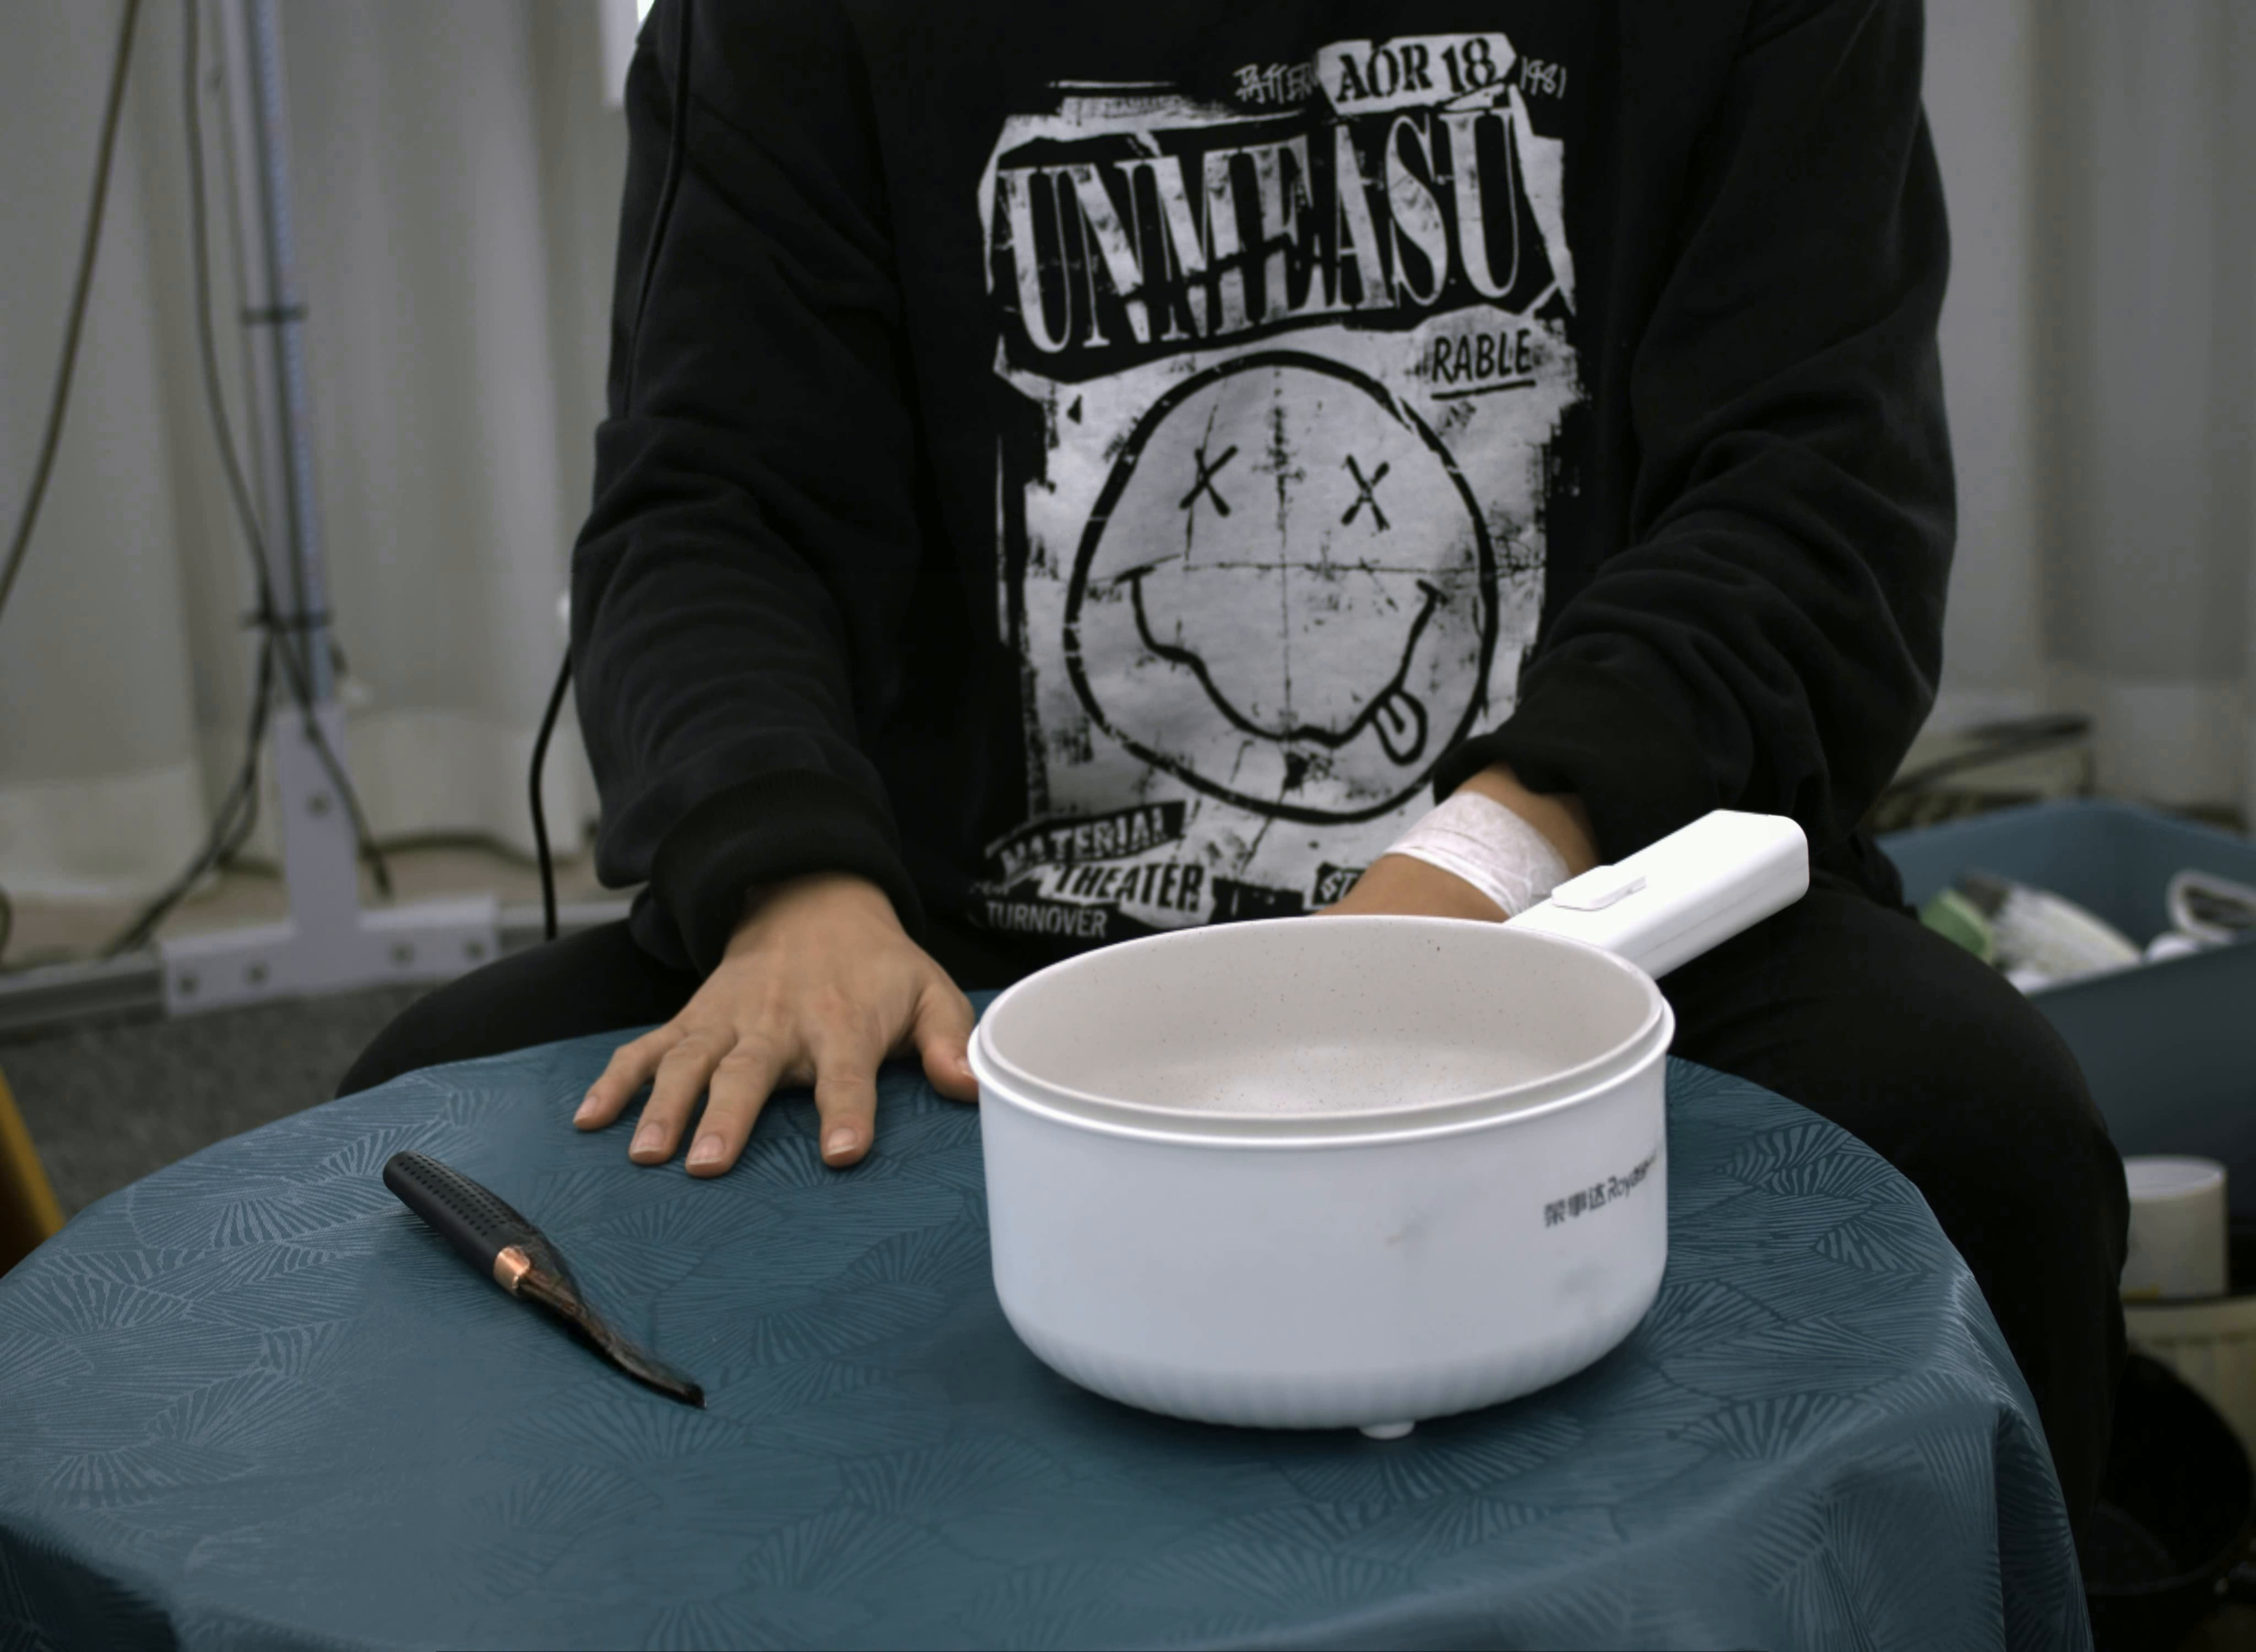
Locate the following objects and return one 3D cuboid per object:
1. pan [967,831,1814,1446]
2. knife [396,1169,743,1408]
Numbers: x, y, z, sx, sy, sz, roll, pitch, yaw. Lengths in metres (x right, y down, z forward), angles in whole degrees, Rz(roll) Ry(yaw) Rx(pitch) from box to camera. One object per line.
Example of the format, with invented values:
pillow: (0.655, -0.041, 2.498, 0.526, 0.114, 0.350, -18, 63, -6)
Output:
pan: (0.101, 0.087, 1.621, 0.202, 0.102, 0.354, 5, 15, 35)
knife: (-0.170, 0.139, 1.640, 0.026, 0.017, 0.227, 5, 10, -30)
